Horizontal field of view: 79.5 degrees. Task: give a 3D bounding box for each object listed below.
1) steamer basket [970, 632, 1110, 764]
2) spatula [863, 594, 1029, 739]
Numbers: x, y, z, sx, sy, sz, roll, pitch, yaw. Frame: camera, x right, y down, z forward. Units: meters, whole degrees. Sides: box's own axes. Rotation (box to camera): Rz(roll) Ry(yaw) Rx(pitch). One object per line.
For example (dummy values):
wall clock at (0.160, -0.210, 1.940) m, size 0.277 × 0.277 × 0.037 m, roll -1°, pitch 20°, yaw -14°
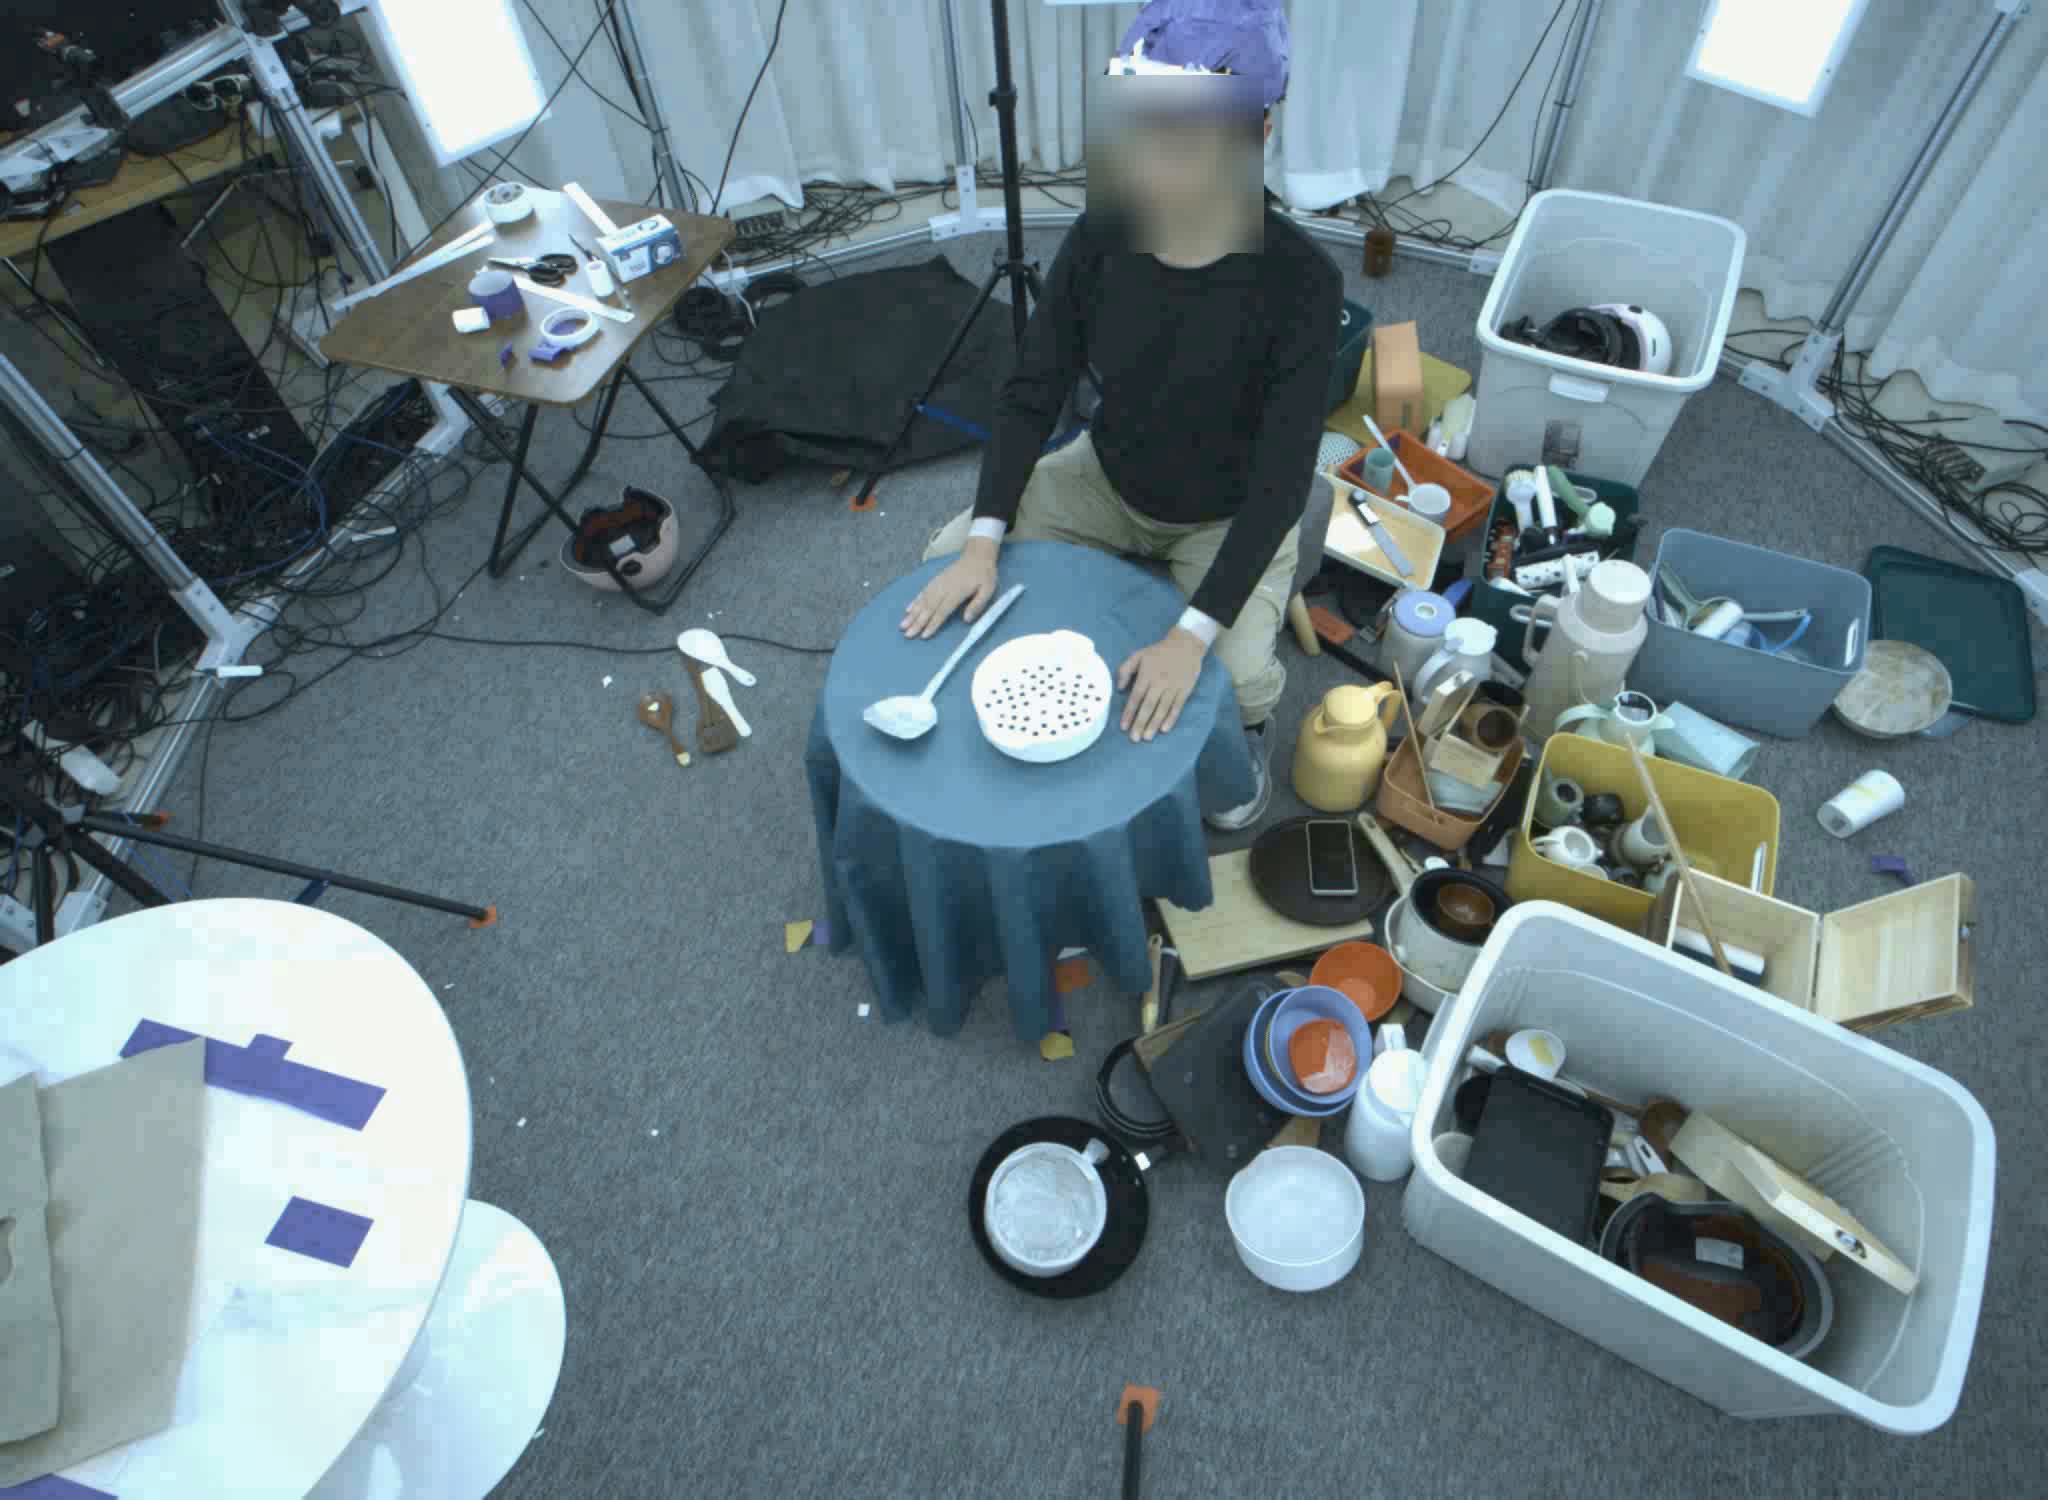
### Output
steamer basket at (0.024, -0.072, 1.795) m, size 0.199 × 0.070 × 0.231 m, roll 23°, pitch 58°, yaw 16°
spatula at (-0.104, -0.141, 1.868) m, size 0.097 × 0.045 × 0.366 m, roll 26°, pitch 60°, yaw 22°
